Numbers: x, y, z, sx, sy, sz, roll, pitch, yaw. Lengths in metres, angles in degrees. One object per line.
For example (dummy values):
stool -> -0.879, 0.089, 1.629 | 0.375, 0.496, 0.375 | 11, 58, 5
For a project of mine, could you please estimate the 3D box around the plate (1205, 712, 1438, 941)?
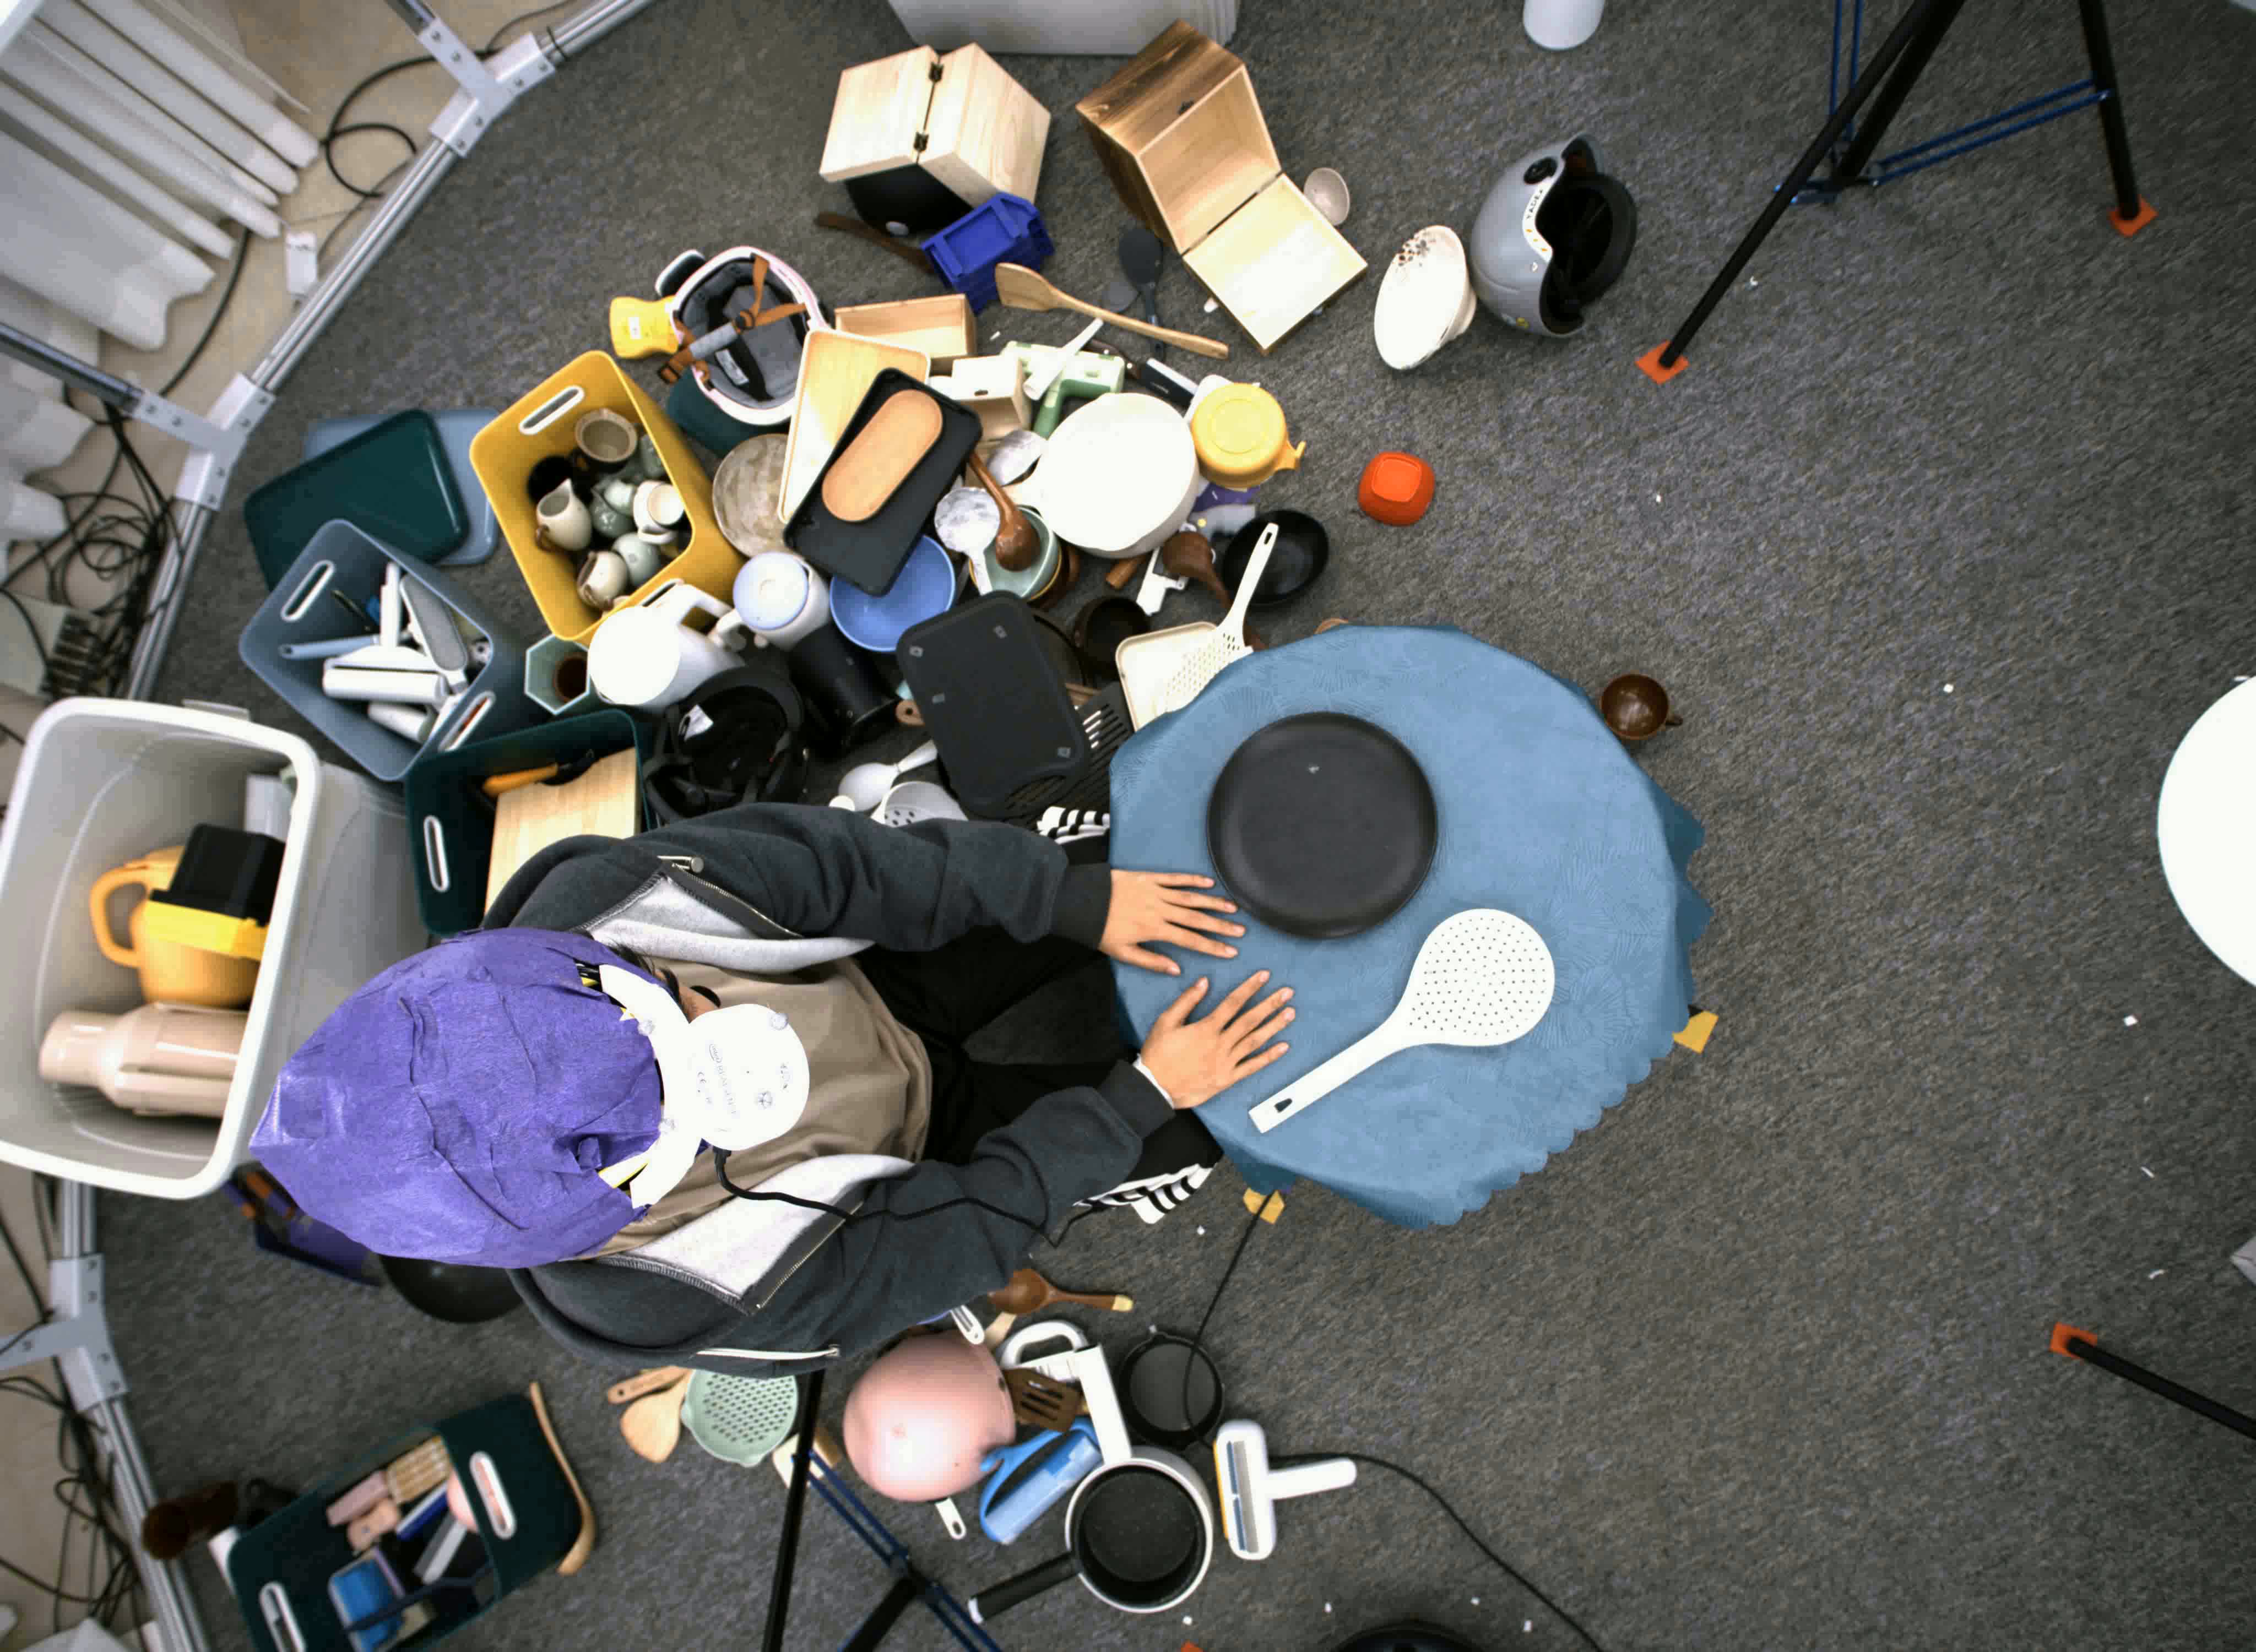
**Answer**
plate -> 0.204, 0.000, 1.464 | 0.245, 0.023, 0.243 | -1, 87, 10

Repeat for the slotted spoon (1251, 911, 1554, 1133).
slotted spoon -> 0.277, 0.214, 1.427 | 0.352, 0.046, 0.135 | -34, 79, 8
